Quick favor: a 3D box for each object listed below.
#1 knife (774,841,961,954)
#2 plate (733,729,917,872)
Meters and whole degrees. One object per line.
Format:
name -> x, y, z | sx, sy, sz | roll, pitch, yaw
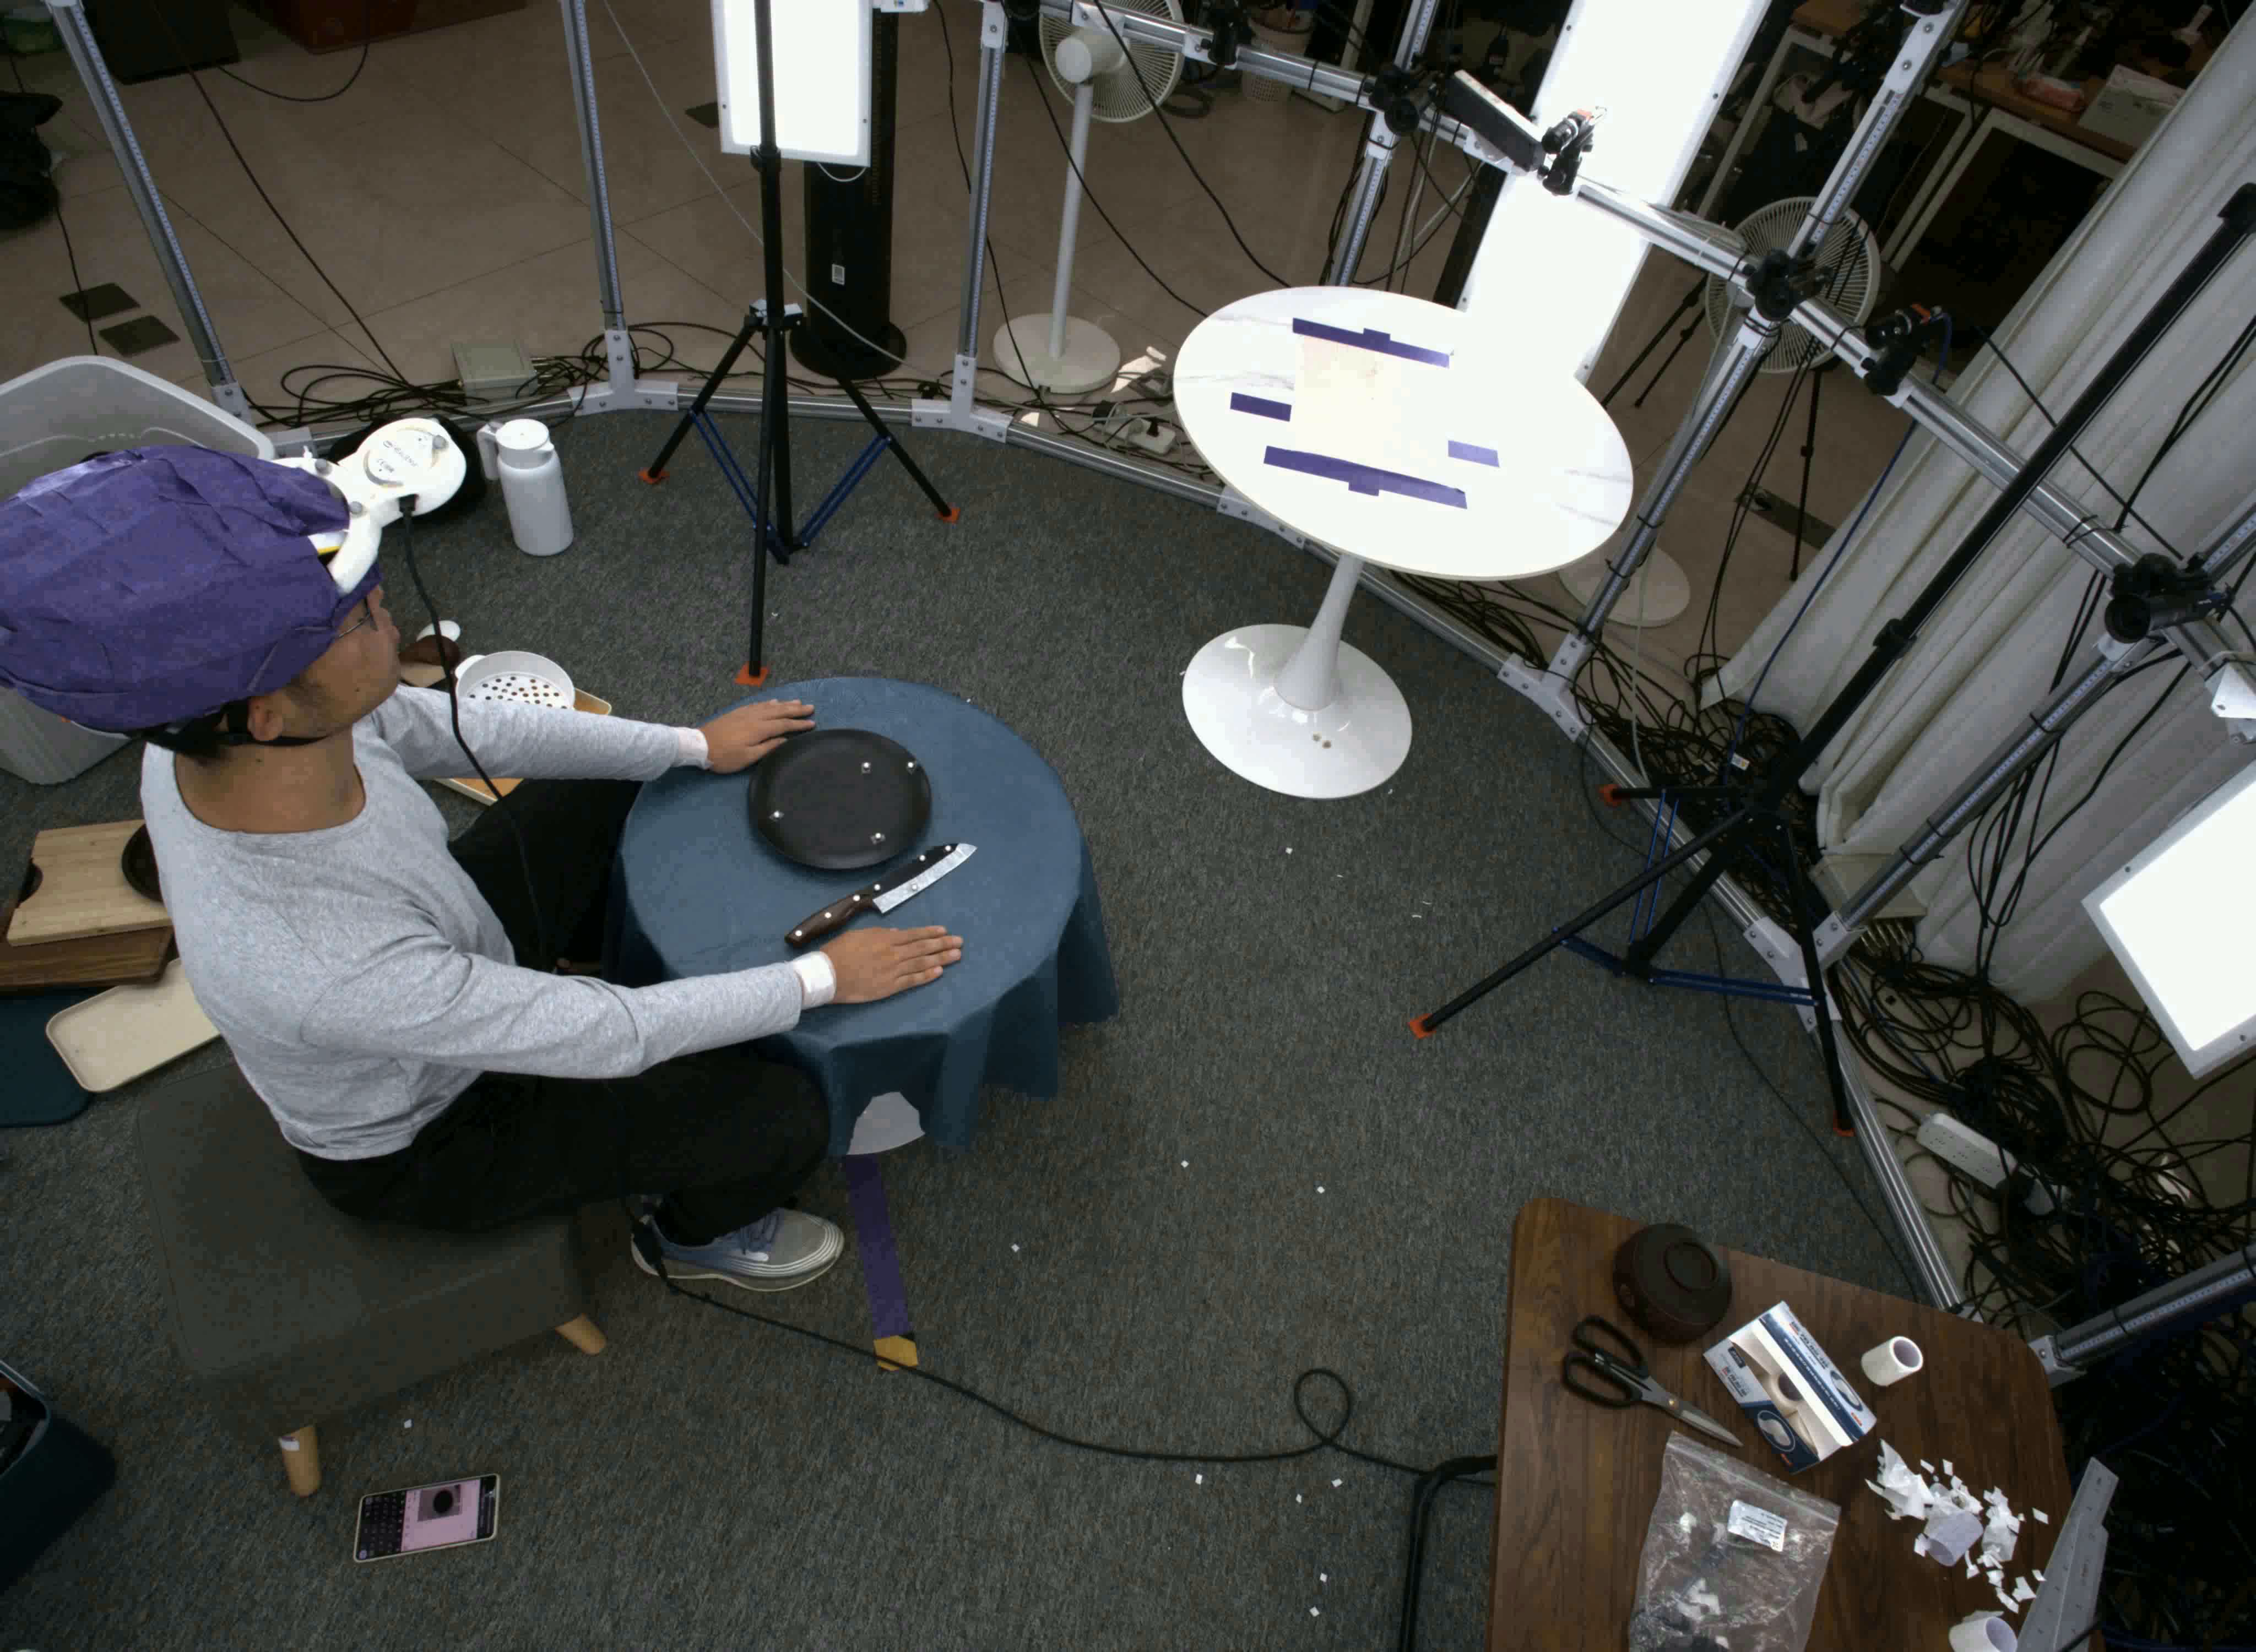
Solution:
knife -> -0.331, 0.086, 1.686 | 0.290, 0.020, 0.049 | -31, 71, -34
plate -> -0.407, -0.033, 1.749 | 0.244, 0.024, 0.240 | 8, 53, -9
